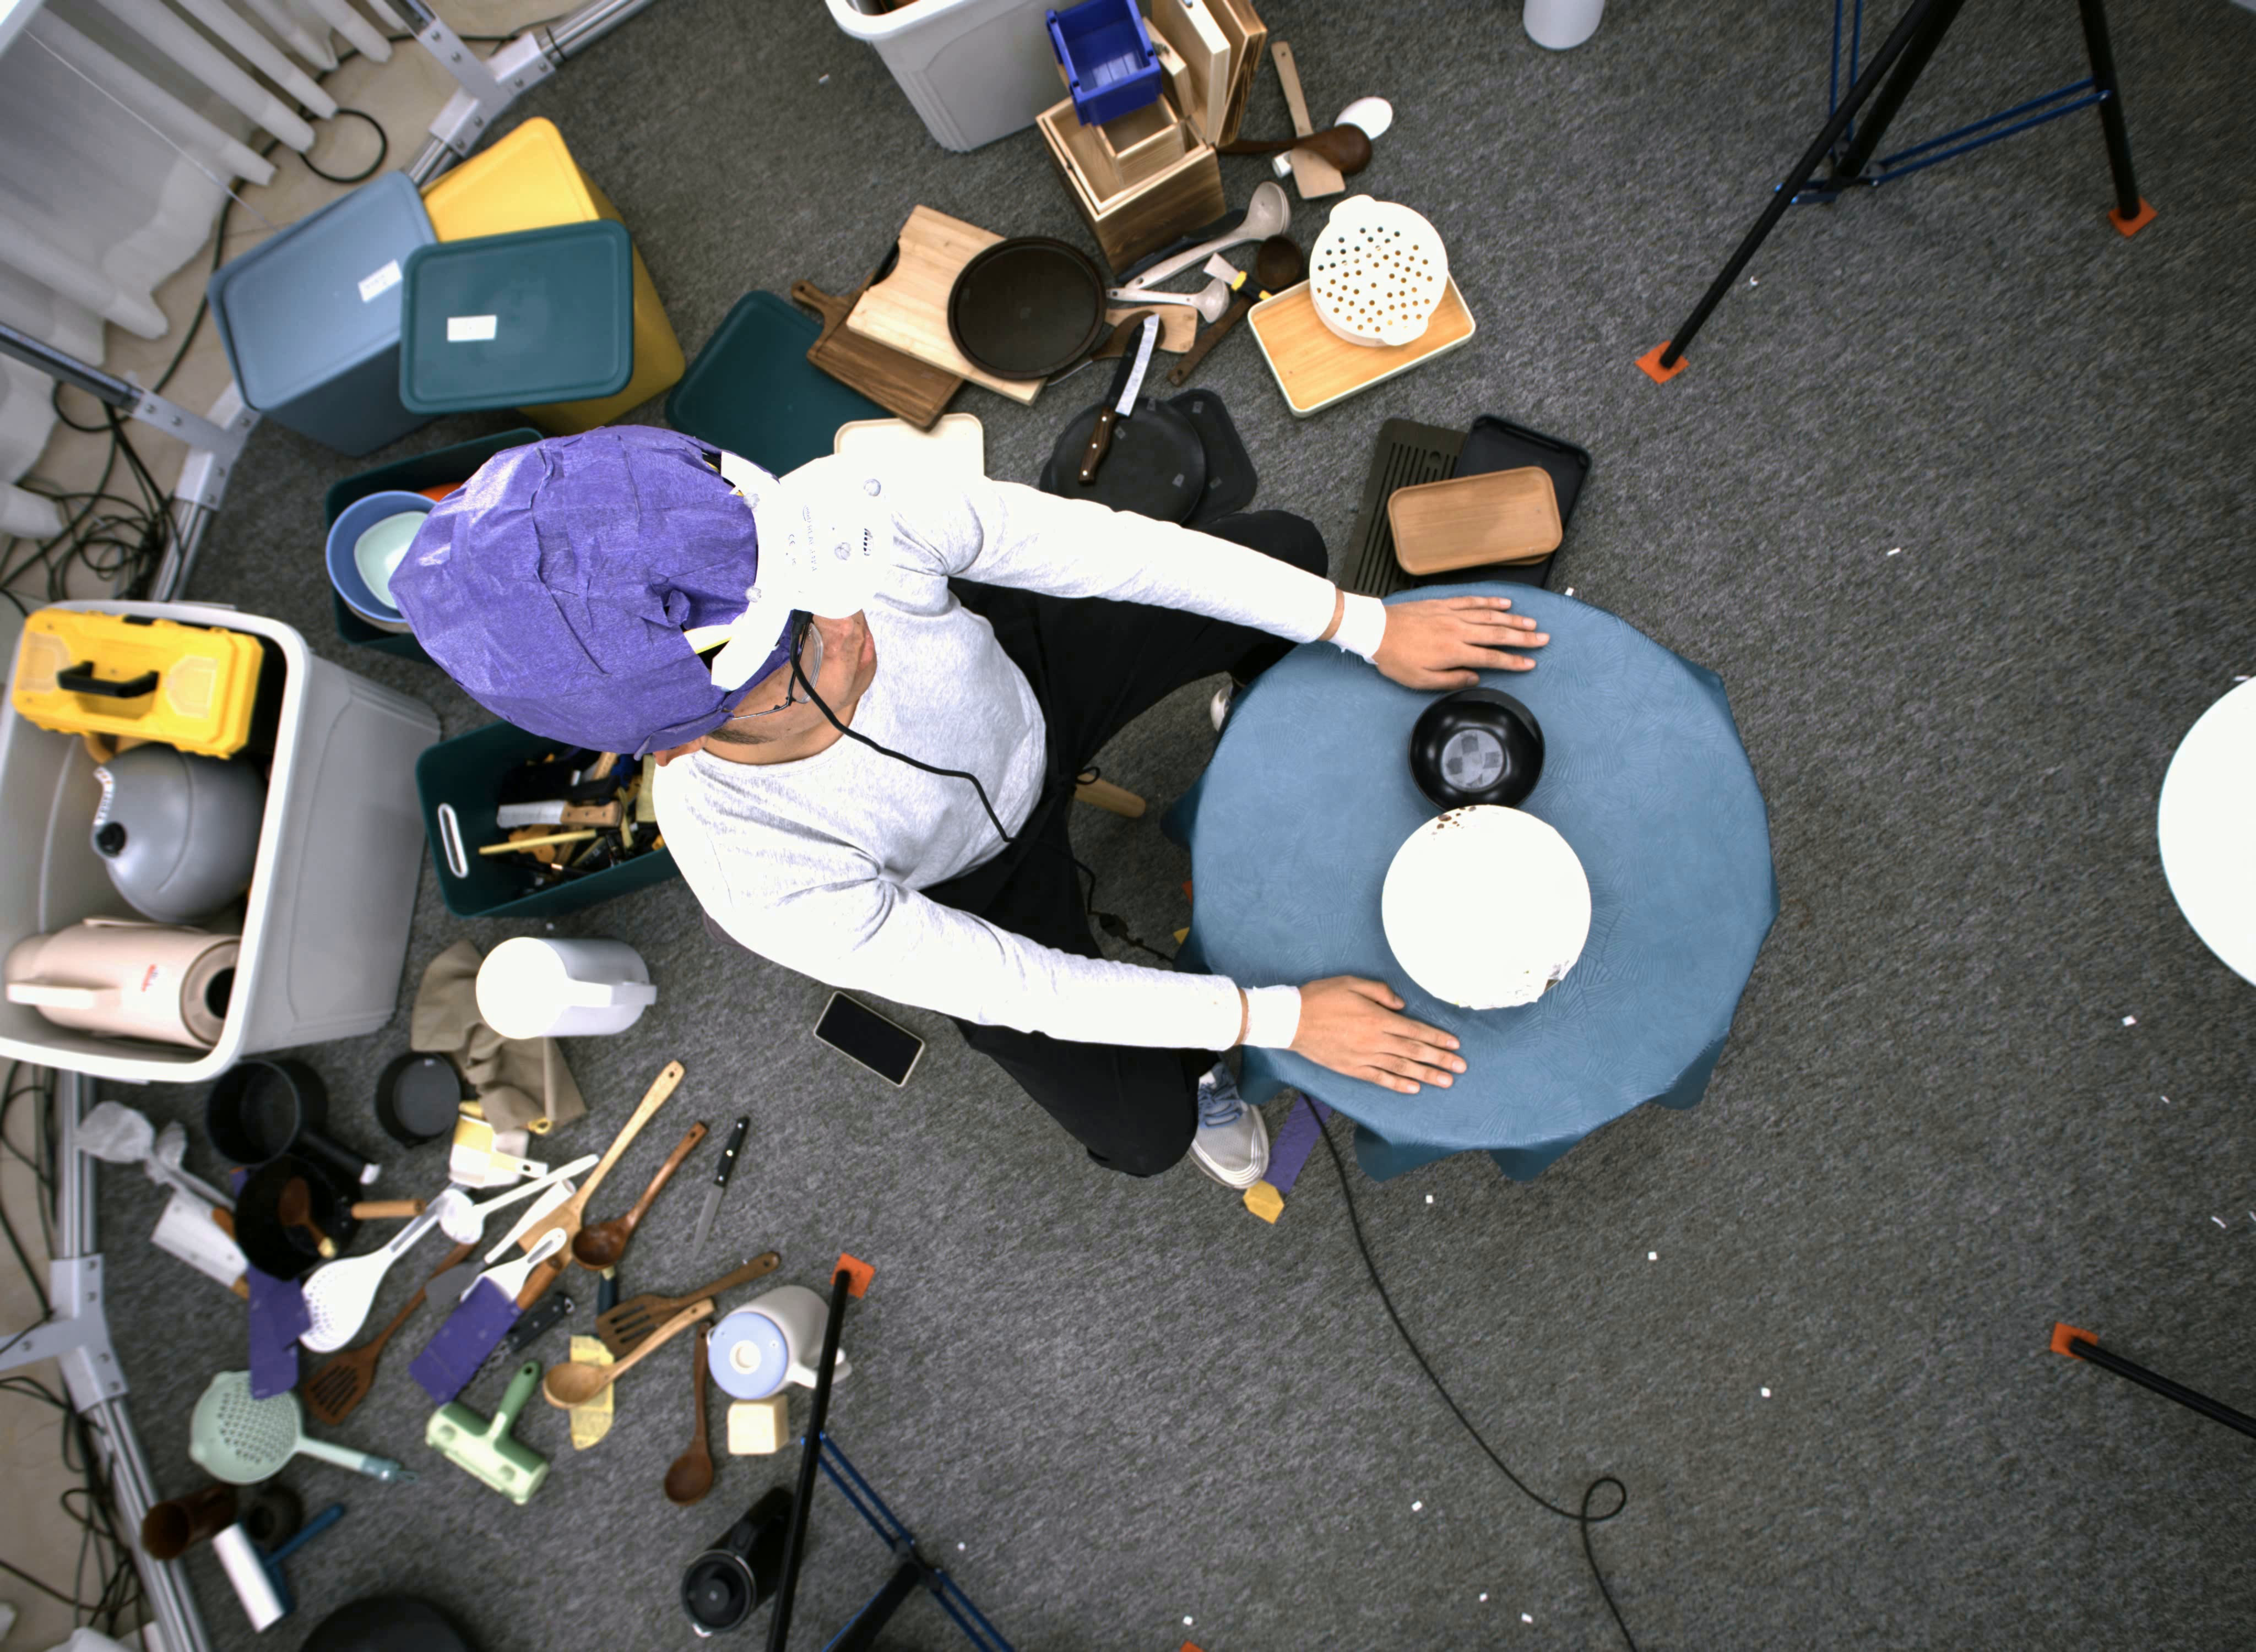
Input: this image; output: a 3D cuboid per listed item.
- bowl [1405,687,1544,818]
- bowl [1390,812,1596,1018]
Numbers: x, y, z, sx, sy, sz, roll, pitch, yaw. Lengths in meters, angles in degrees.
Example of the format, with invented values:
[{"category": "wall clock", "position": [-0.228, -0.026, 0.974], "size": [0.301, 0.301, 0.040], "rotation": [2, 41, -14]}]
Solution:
[{"category": "bowl", "position": [0.361, -0.074, 1.429], "size": [0.141, 0.050, 0.139], "rotation": [-2, 83, 15]}, {"category": "bowl", "position": [0.362, 0.089, 1.391], "size": [0.204, 0.078, 0.203], "rotation": [0, 85, 4]}]
